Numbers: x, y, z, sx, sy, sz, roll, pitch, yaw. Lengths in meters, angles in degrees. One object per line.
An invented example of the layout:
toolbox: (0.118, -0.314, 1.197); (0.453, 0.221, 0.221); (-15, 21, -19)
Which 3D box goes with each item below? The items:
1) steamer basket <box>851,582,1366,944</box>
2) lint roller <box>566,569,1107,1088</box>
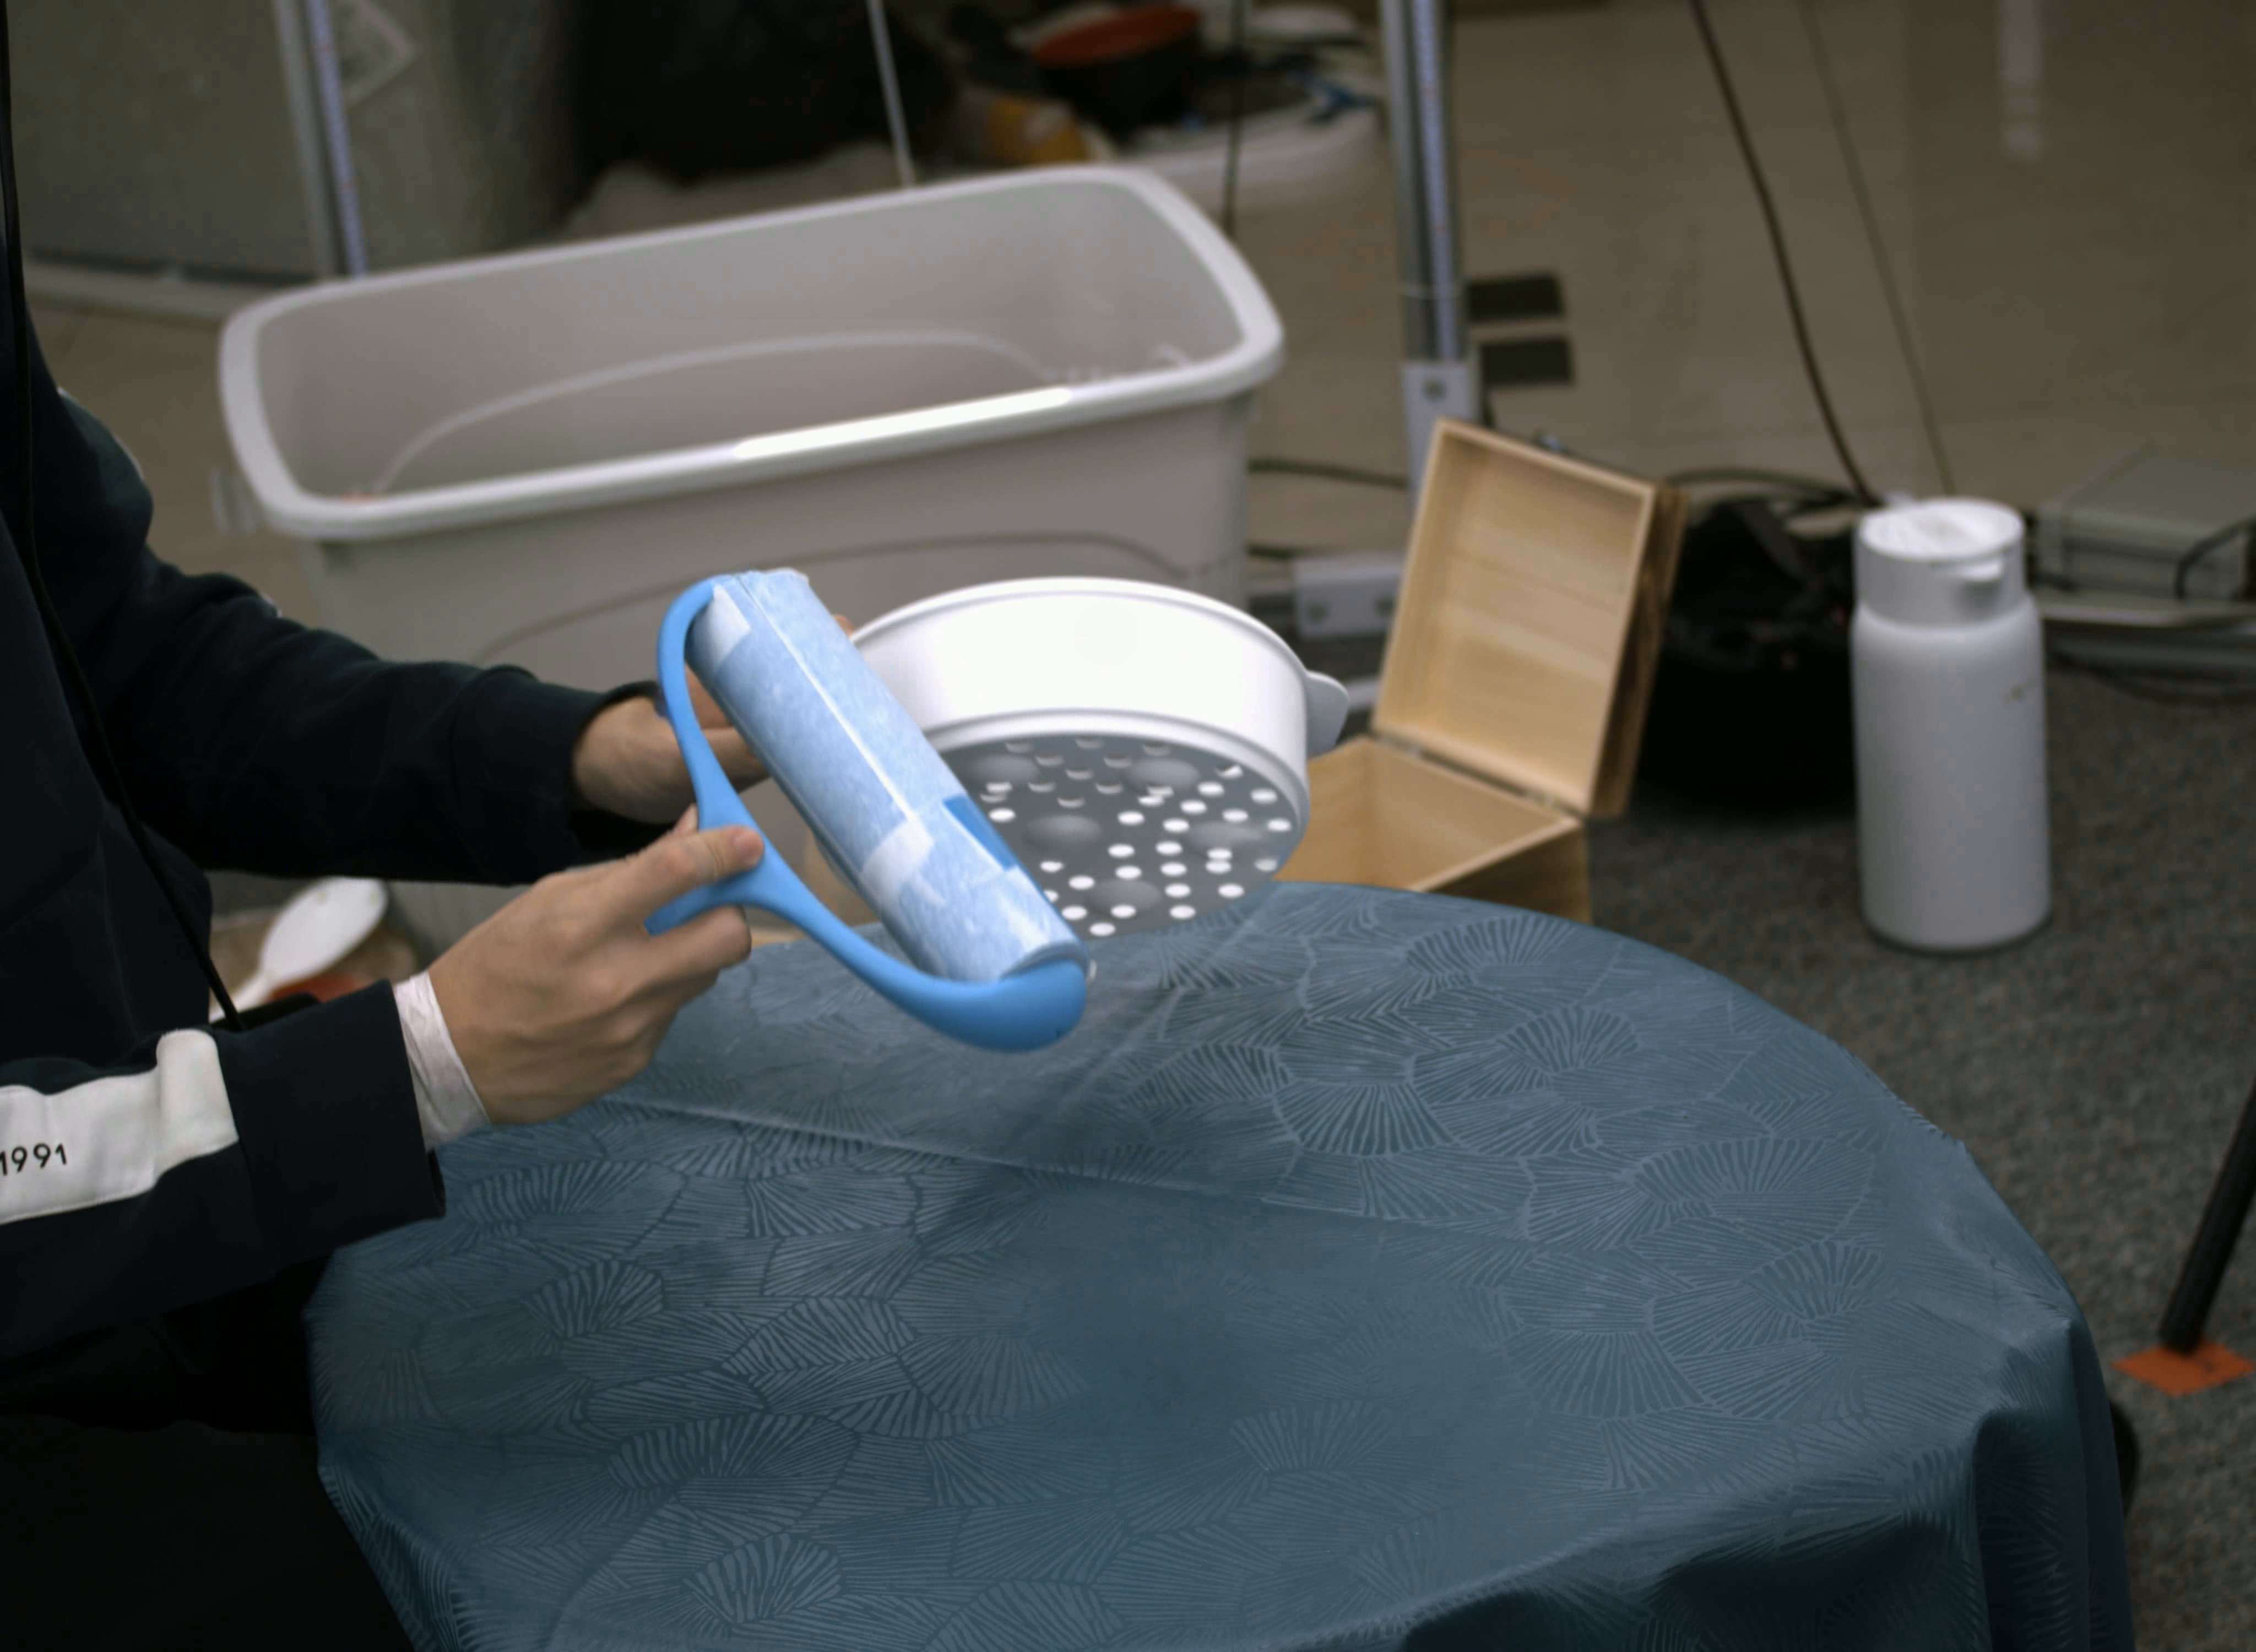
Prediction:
steamer basket: (-0.020, -0.019, 2.199); (0.230, 0.205, 0.068); (0, 64, -8)
lint roller: (-0.131, 0.027, 2.037); (0.179, 0.069, 0.226); (-39, 68, -8)
